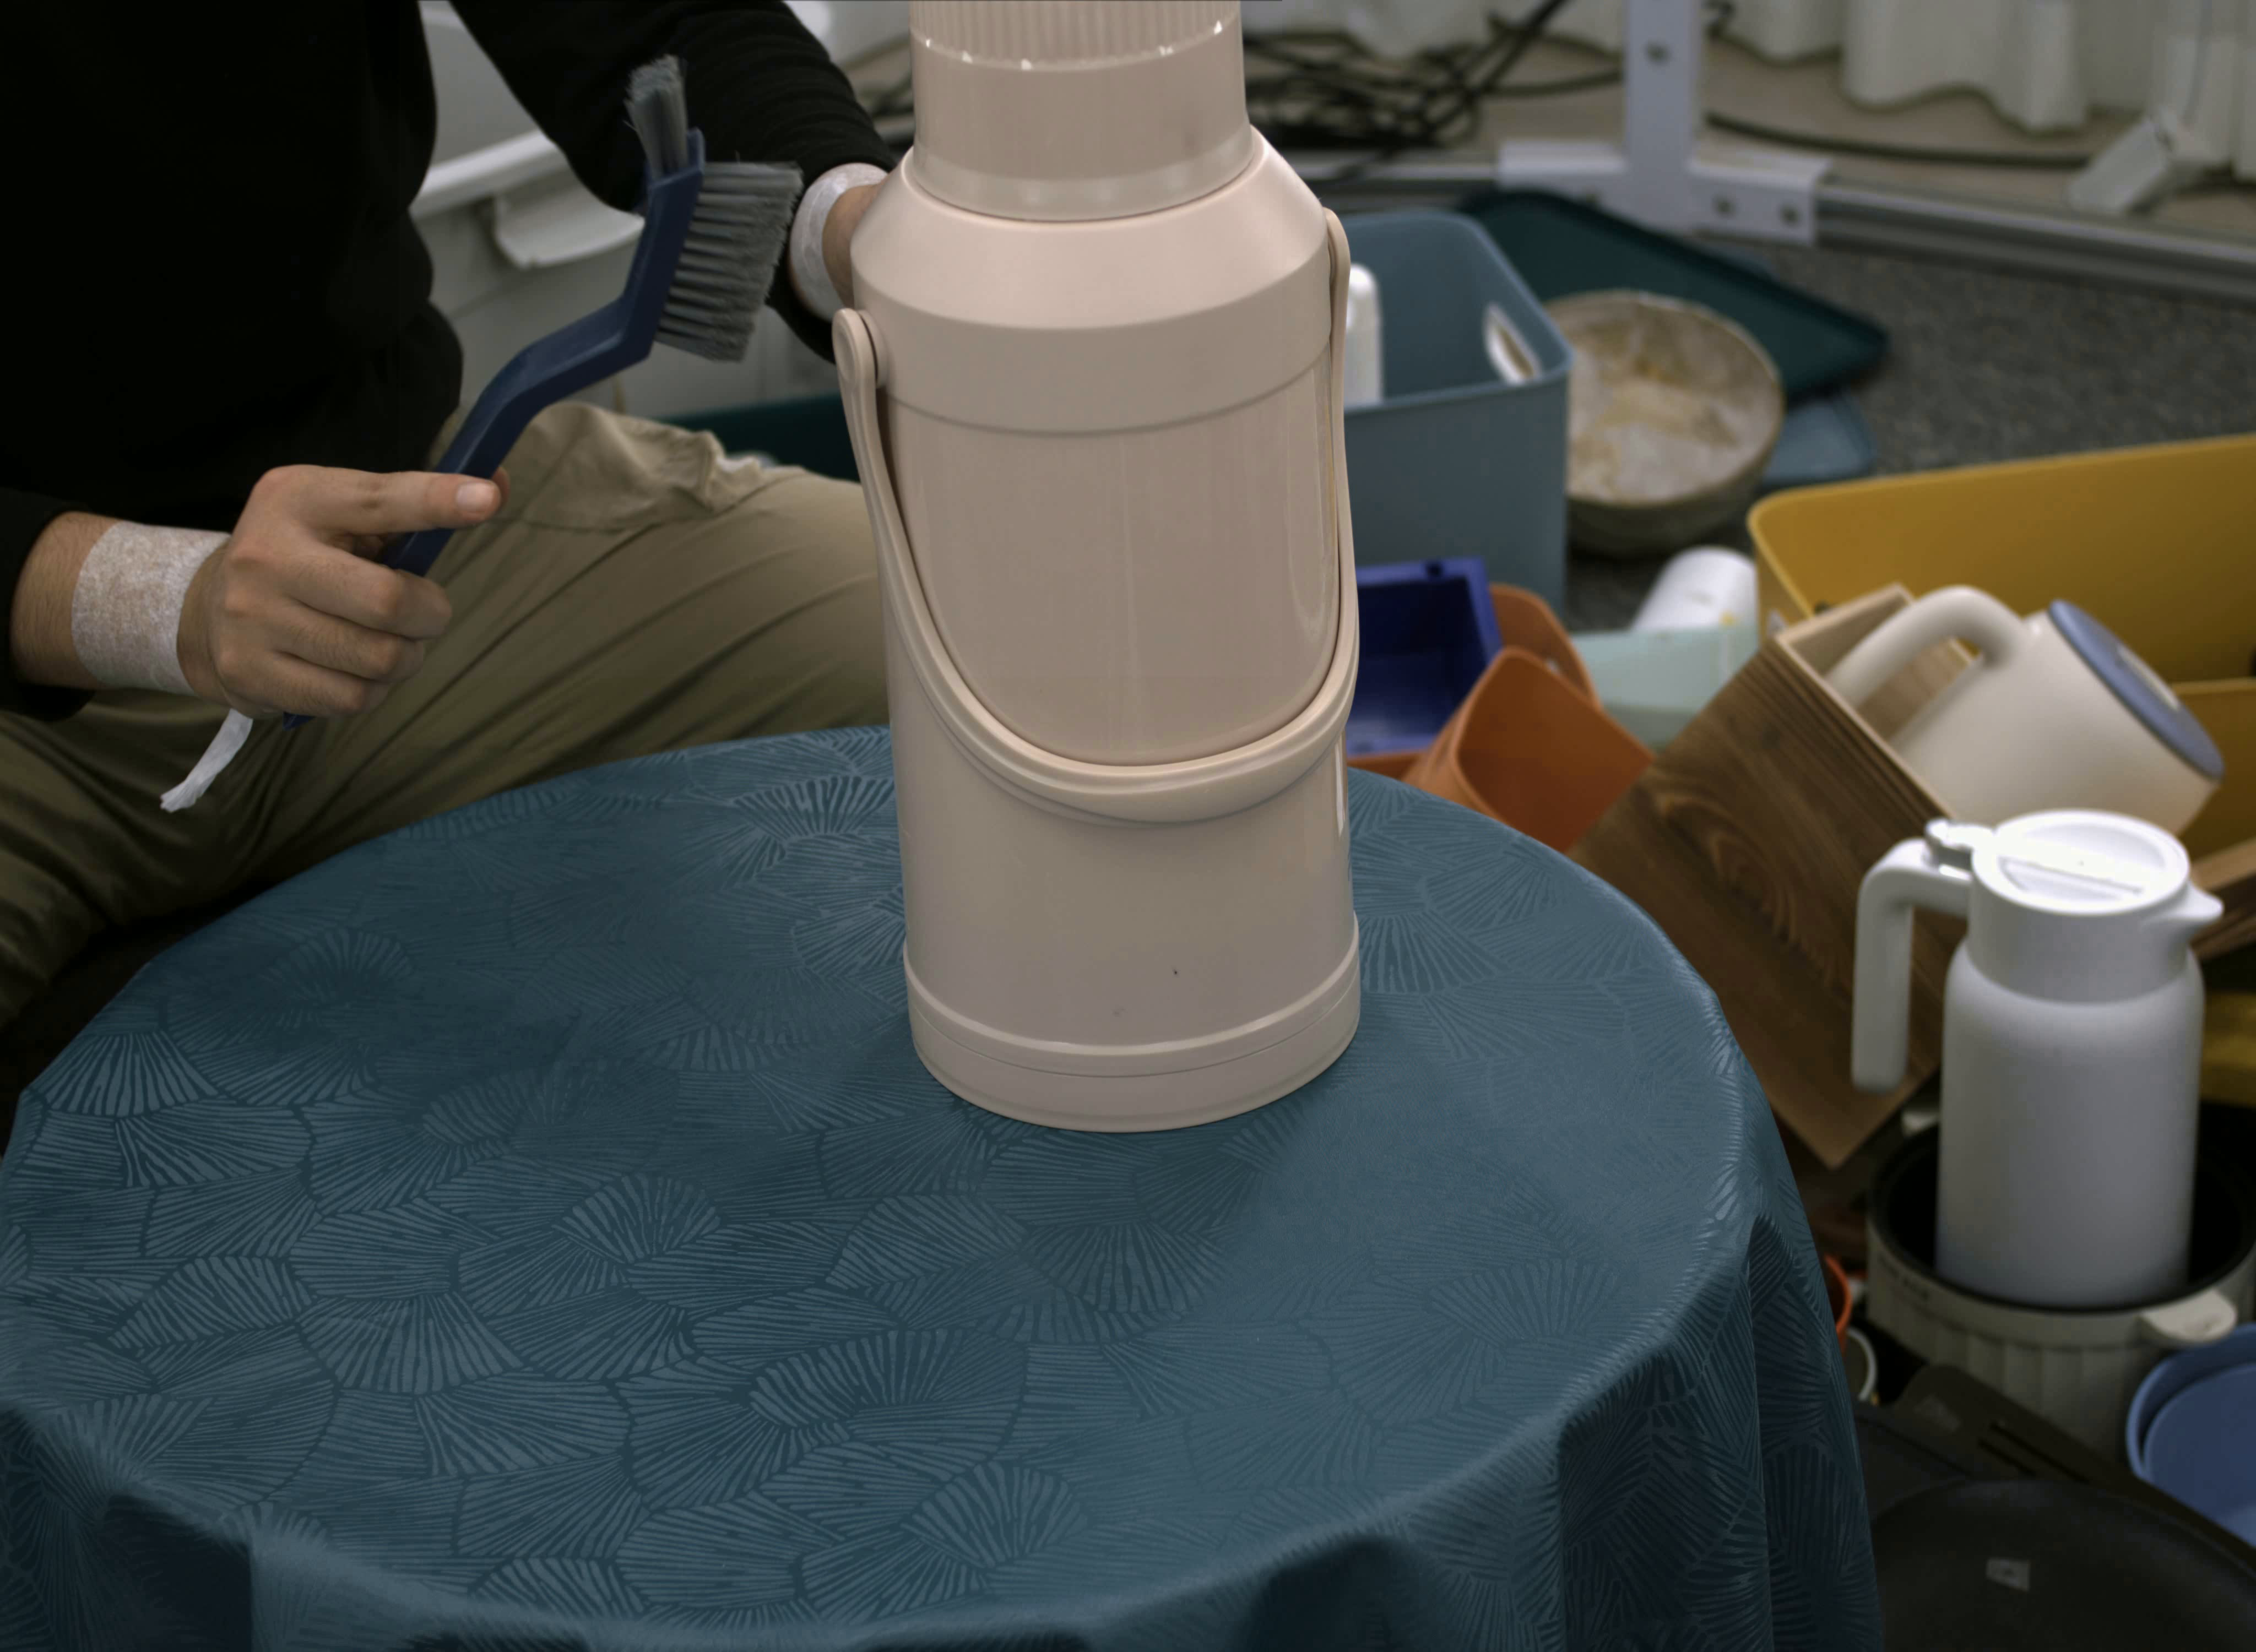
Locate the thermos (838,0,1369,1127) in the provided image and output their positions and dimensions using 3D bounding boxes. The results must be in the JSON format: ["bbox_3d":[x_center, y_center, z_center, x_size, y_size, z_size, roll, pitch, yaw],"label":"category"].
[{"bbox_3d":[-0.010,-0.115,1.894,0.176,0.402,0.208,-15,29,-20],"label":"thermos"}]

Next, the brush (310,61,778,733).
[{"bbox_3d":[-0.213,-0.137,1.871,0.095,0.269,0.034,33,28,-28],"label":"brush"}]
